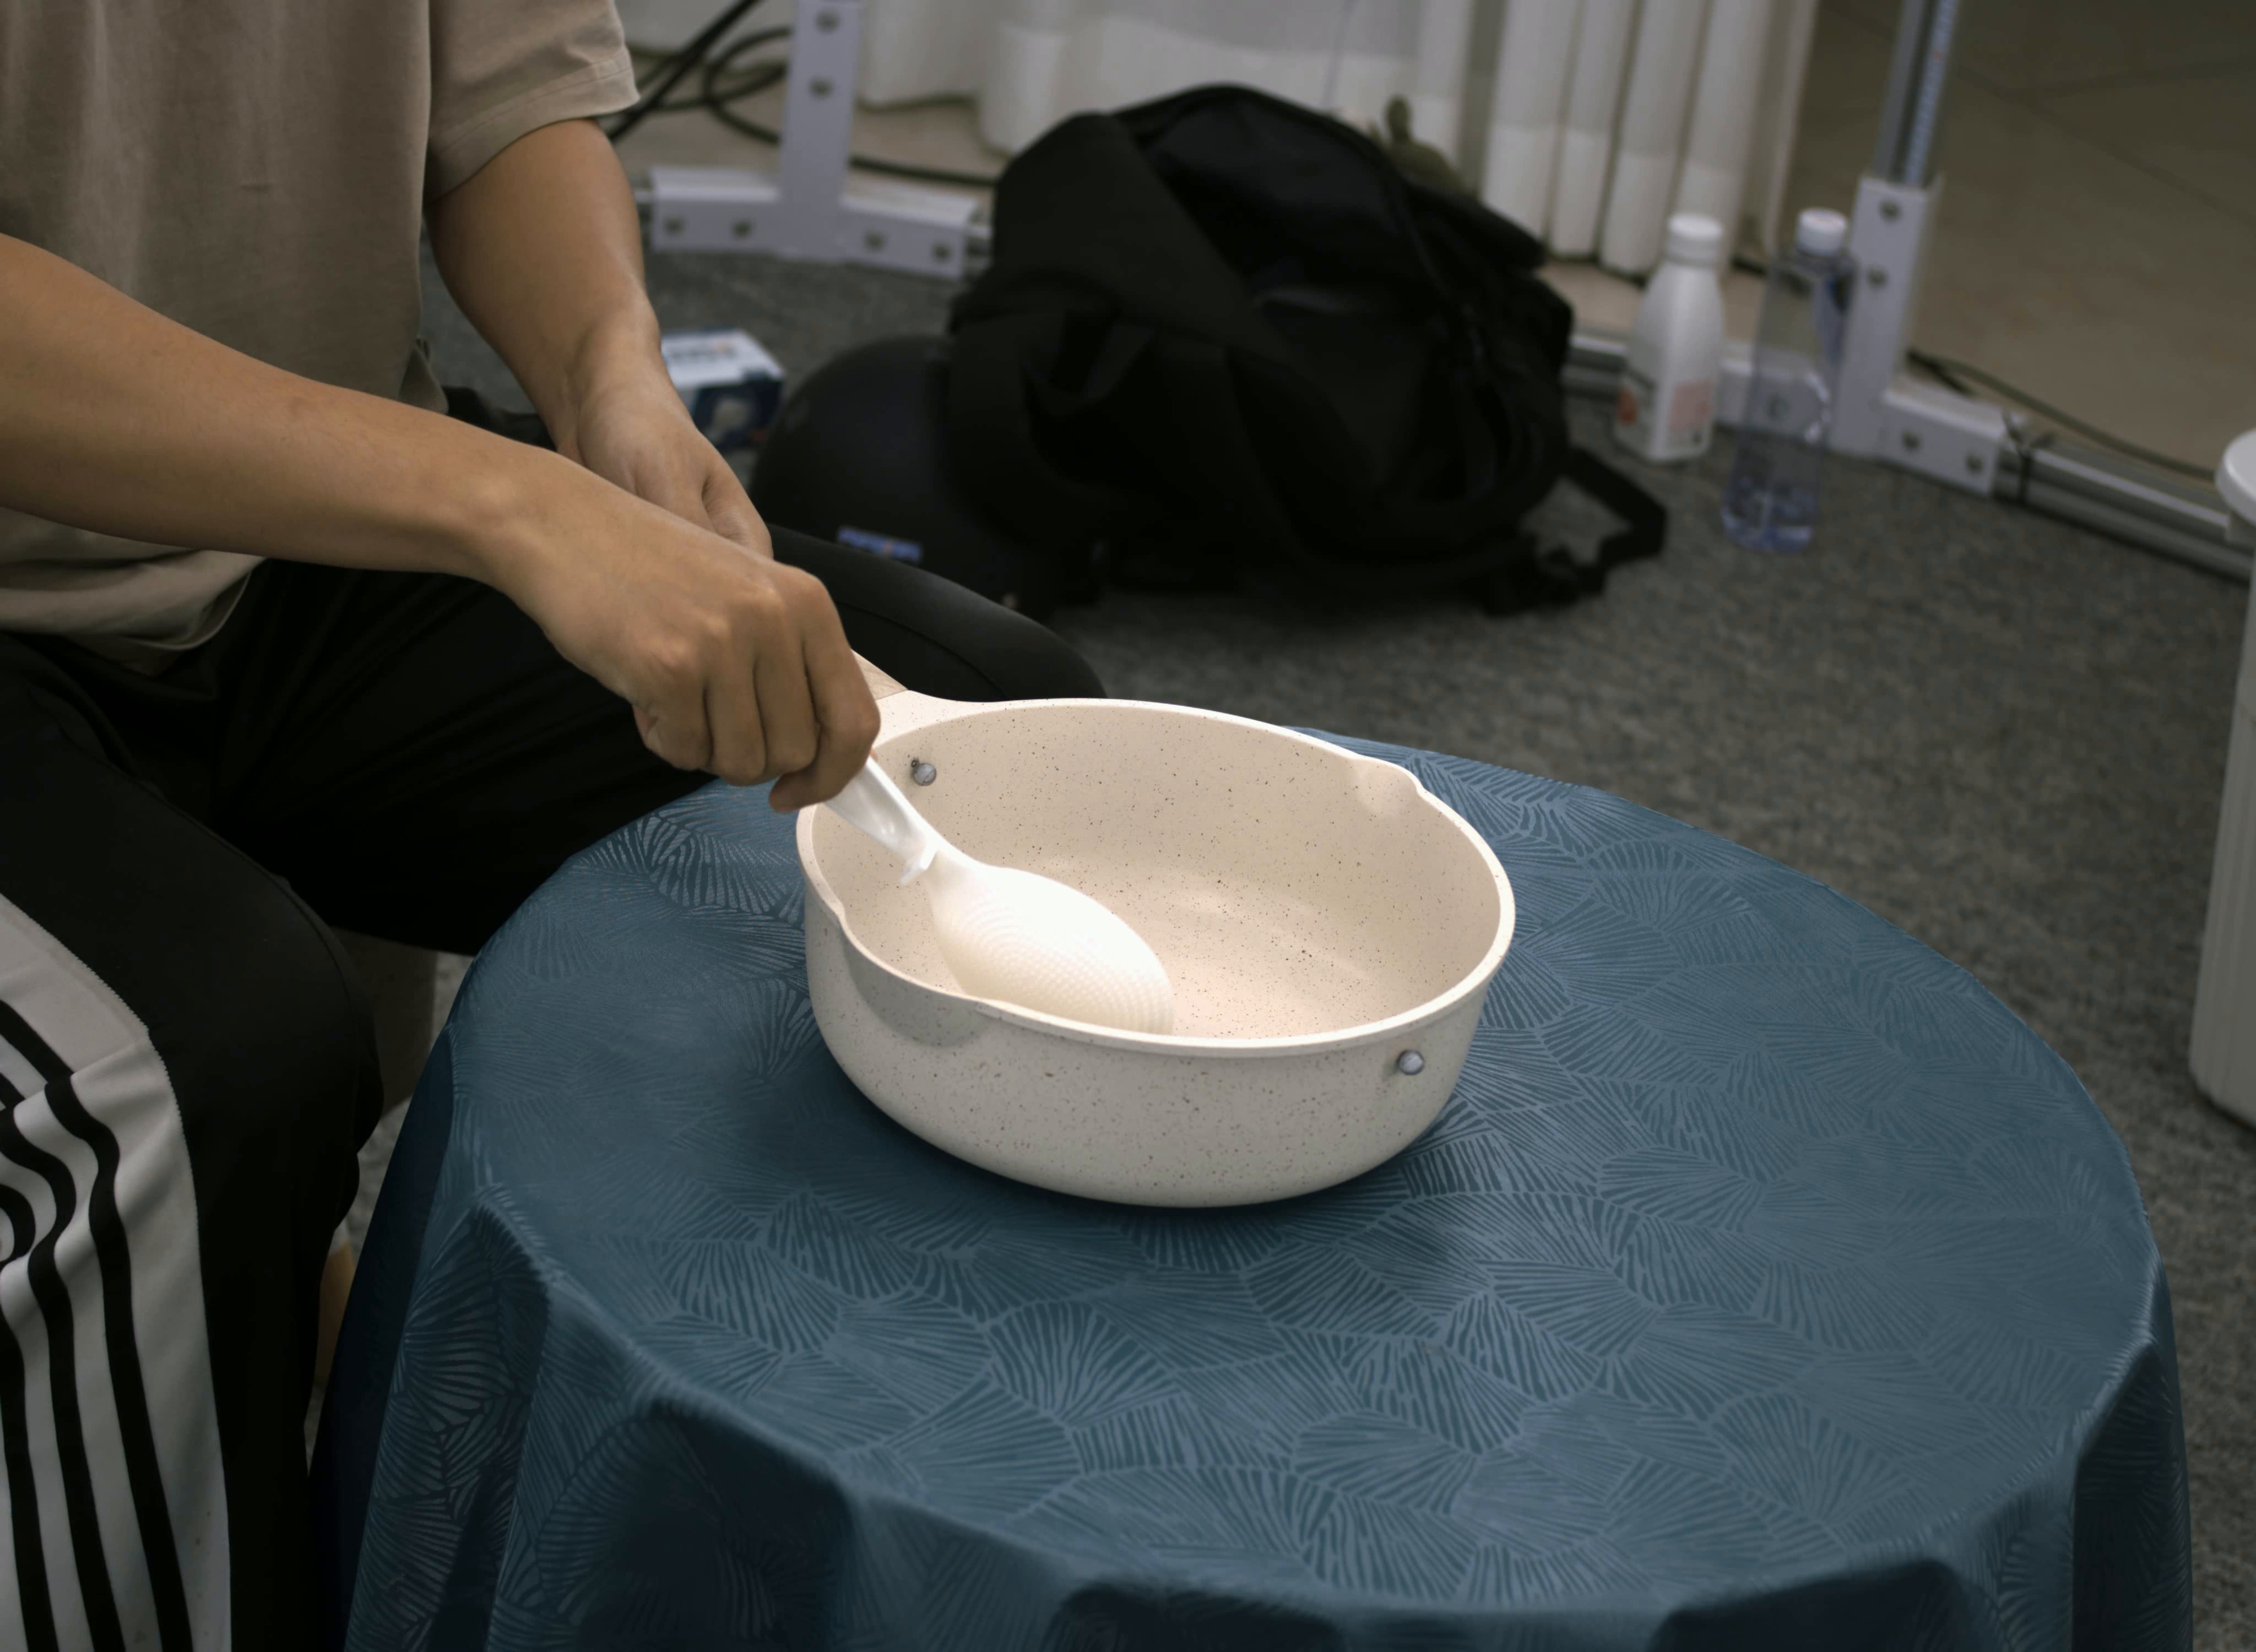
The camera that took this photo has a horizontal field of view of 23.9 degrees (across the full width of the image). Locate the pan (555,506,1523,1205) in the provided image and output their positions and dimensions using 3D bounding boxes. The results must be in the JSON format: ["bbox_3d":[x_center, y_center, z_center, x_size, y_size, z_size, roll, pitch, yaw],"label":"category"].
[{"bbox_3d":[-0.056,0.005,1.918,0.438,0.101,0.262,28,36,36],"label":"pan"}]

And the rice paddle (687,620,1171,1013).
[{"bbox_3d":[-0.064,0.010,1.785,0.204,0.069,0.029,43,35,-15],"label":"rice paddle"}]
